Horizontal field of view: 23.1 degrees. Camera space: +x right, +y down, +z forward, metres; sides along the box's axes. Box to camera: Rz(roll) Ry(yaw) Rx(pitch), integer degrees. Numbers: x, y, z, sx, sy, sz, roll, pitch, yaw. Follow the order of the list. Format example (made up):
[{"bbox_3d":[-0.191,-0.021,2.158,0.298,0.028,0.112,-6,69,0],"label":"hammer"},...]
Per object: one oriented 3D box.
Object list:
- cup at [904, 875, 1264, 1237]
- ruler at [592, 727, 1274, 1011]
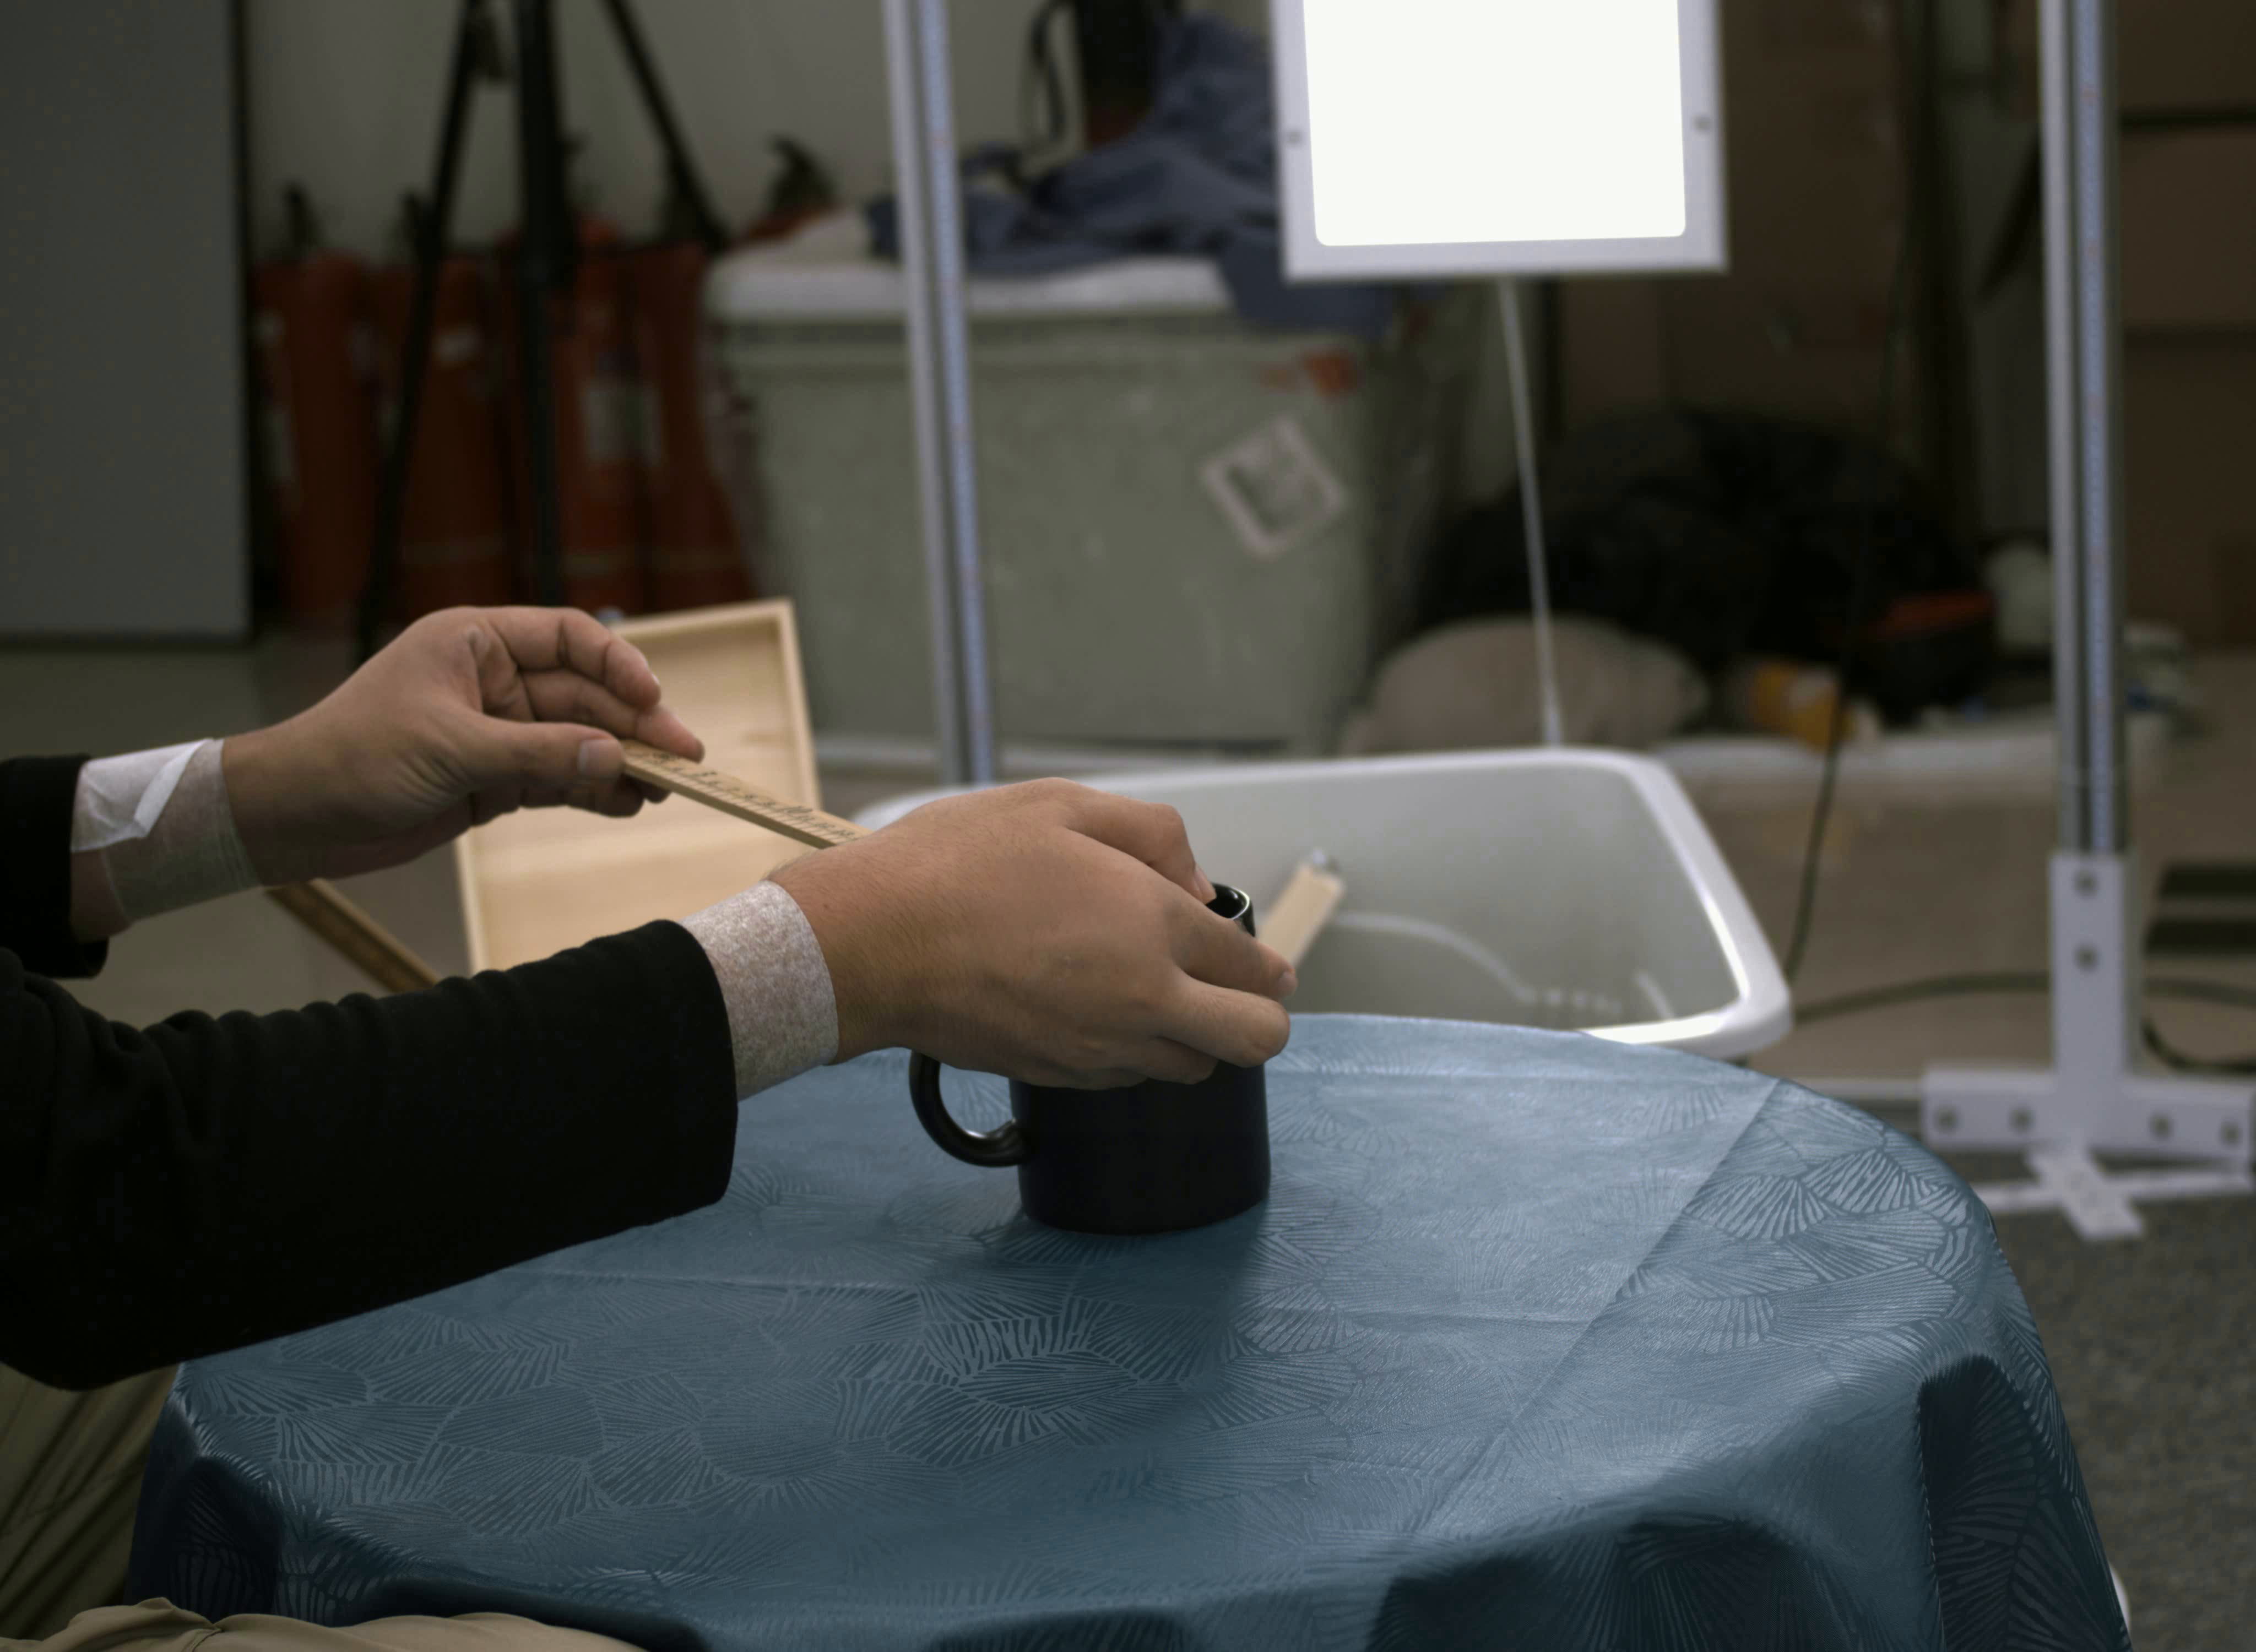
[{"bbox_3d":[-0.015,0.080,1.876,0.122,0.106,0.089,-6,16,-9],"label":"cup"},{"bbox_3d":[-0.072,0.010,1.854,0.027,0.022,0.338,-1,15,-42],"label":"ruler"}]
